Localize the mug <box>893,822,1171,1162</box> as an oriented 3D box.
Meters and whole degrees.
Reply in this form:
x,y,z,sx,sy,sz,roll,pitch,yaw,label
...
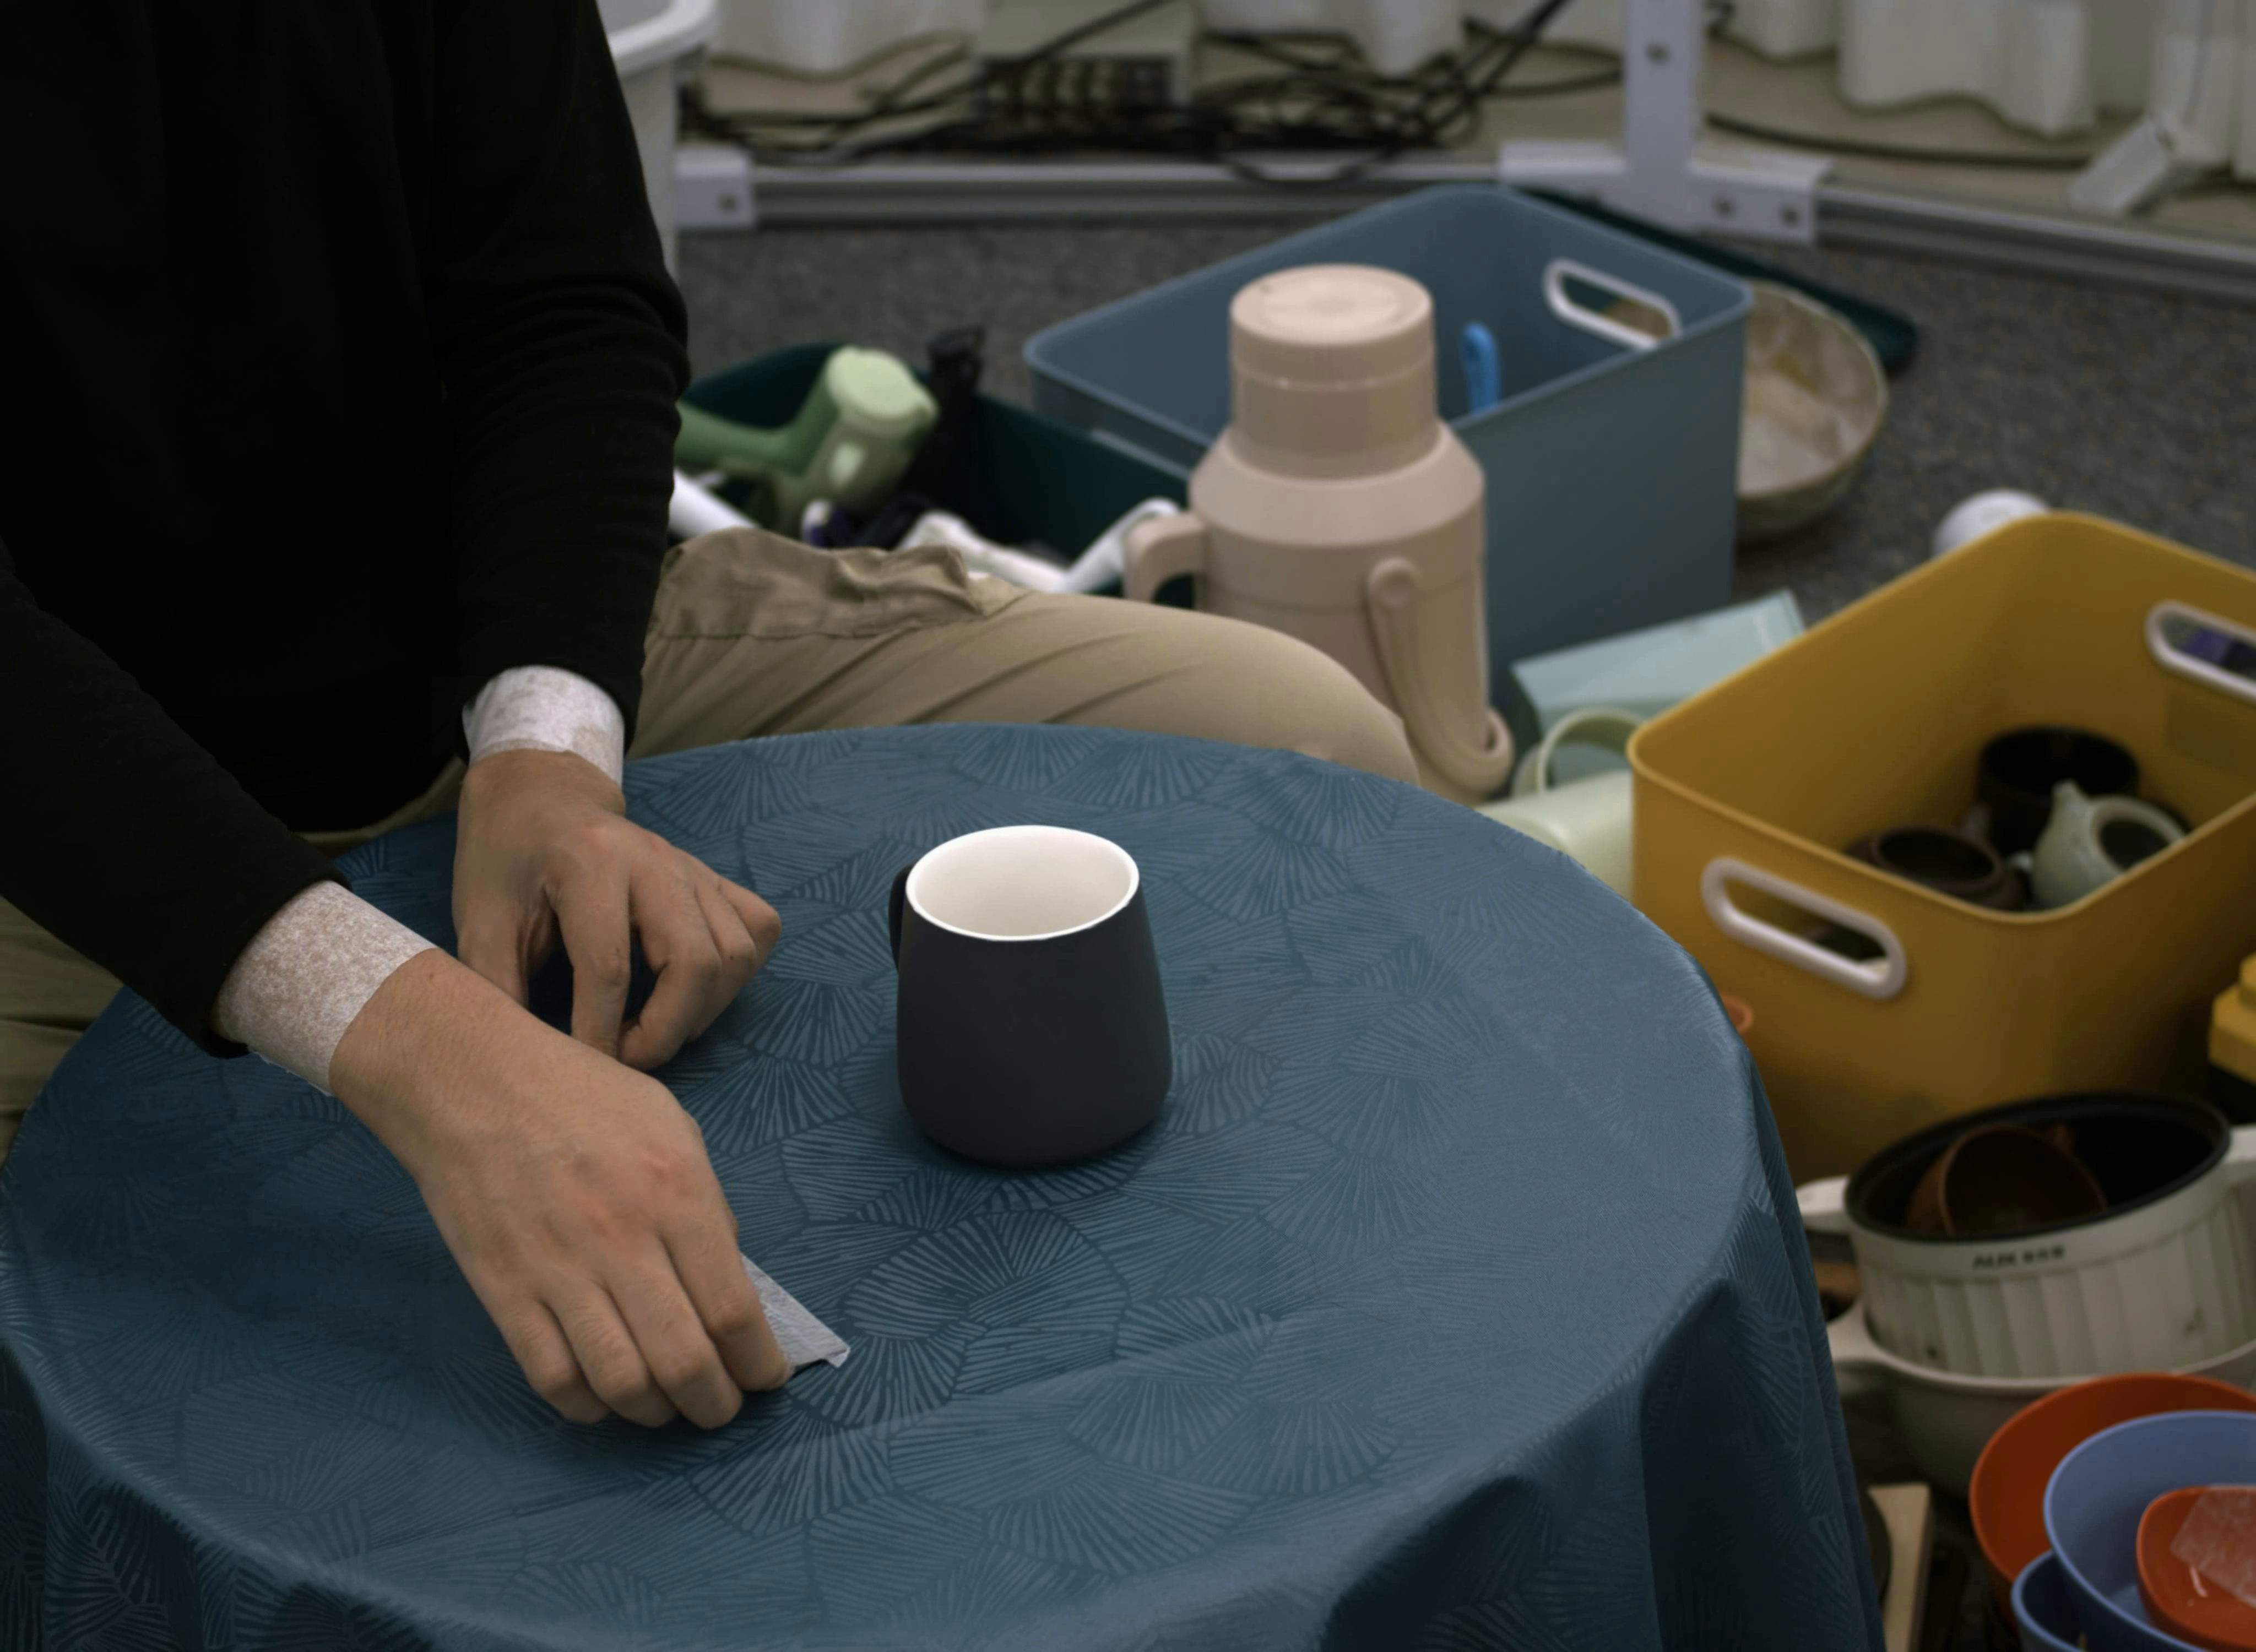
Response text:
x,y,z,sx,sy,sz,roll,pitch,yaw,label
-0.041,0.051,1.902,0.094,0.089,0.123,-19,32,-30,mug

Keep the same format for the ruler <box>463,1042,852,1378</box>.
x,y,z,sx,sy,sz,roll,pitch,yaw,label
-0.161,0.123,1.847,0.038,0.024,0.218,-20,30,-27,ruler
